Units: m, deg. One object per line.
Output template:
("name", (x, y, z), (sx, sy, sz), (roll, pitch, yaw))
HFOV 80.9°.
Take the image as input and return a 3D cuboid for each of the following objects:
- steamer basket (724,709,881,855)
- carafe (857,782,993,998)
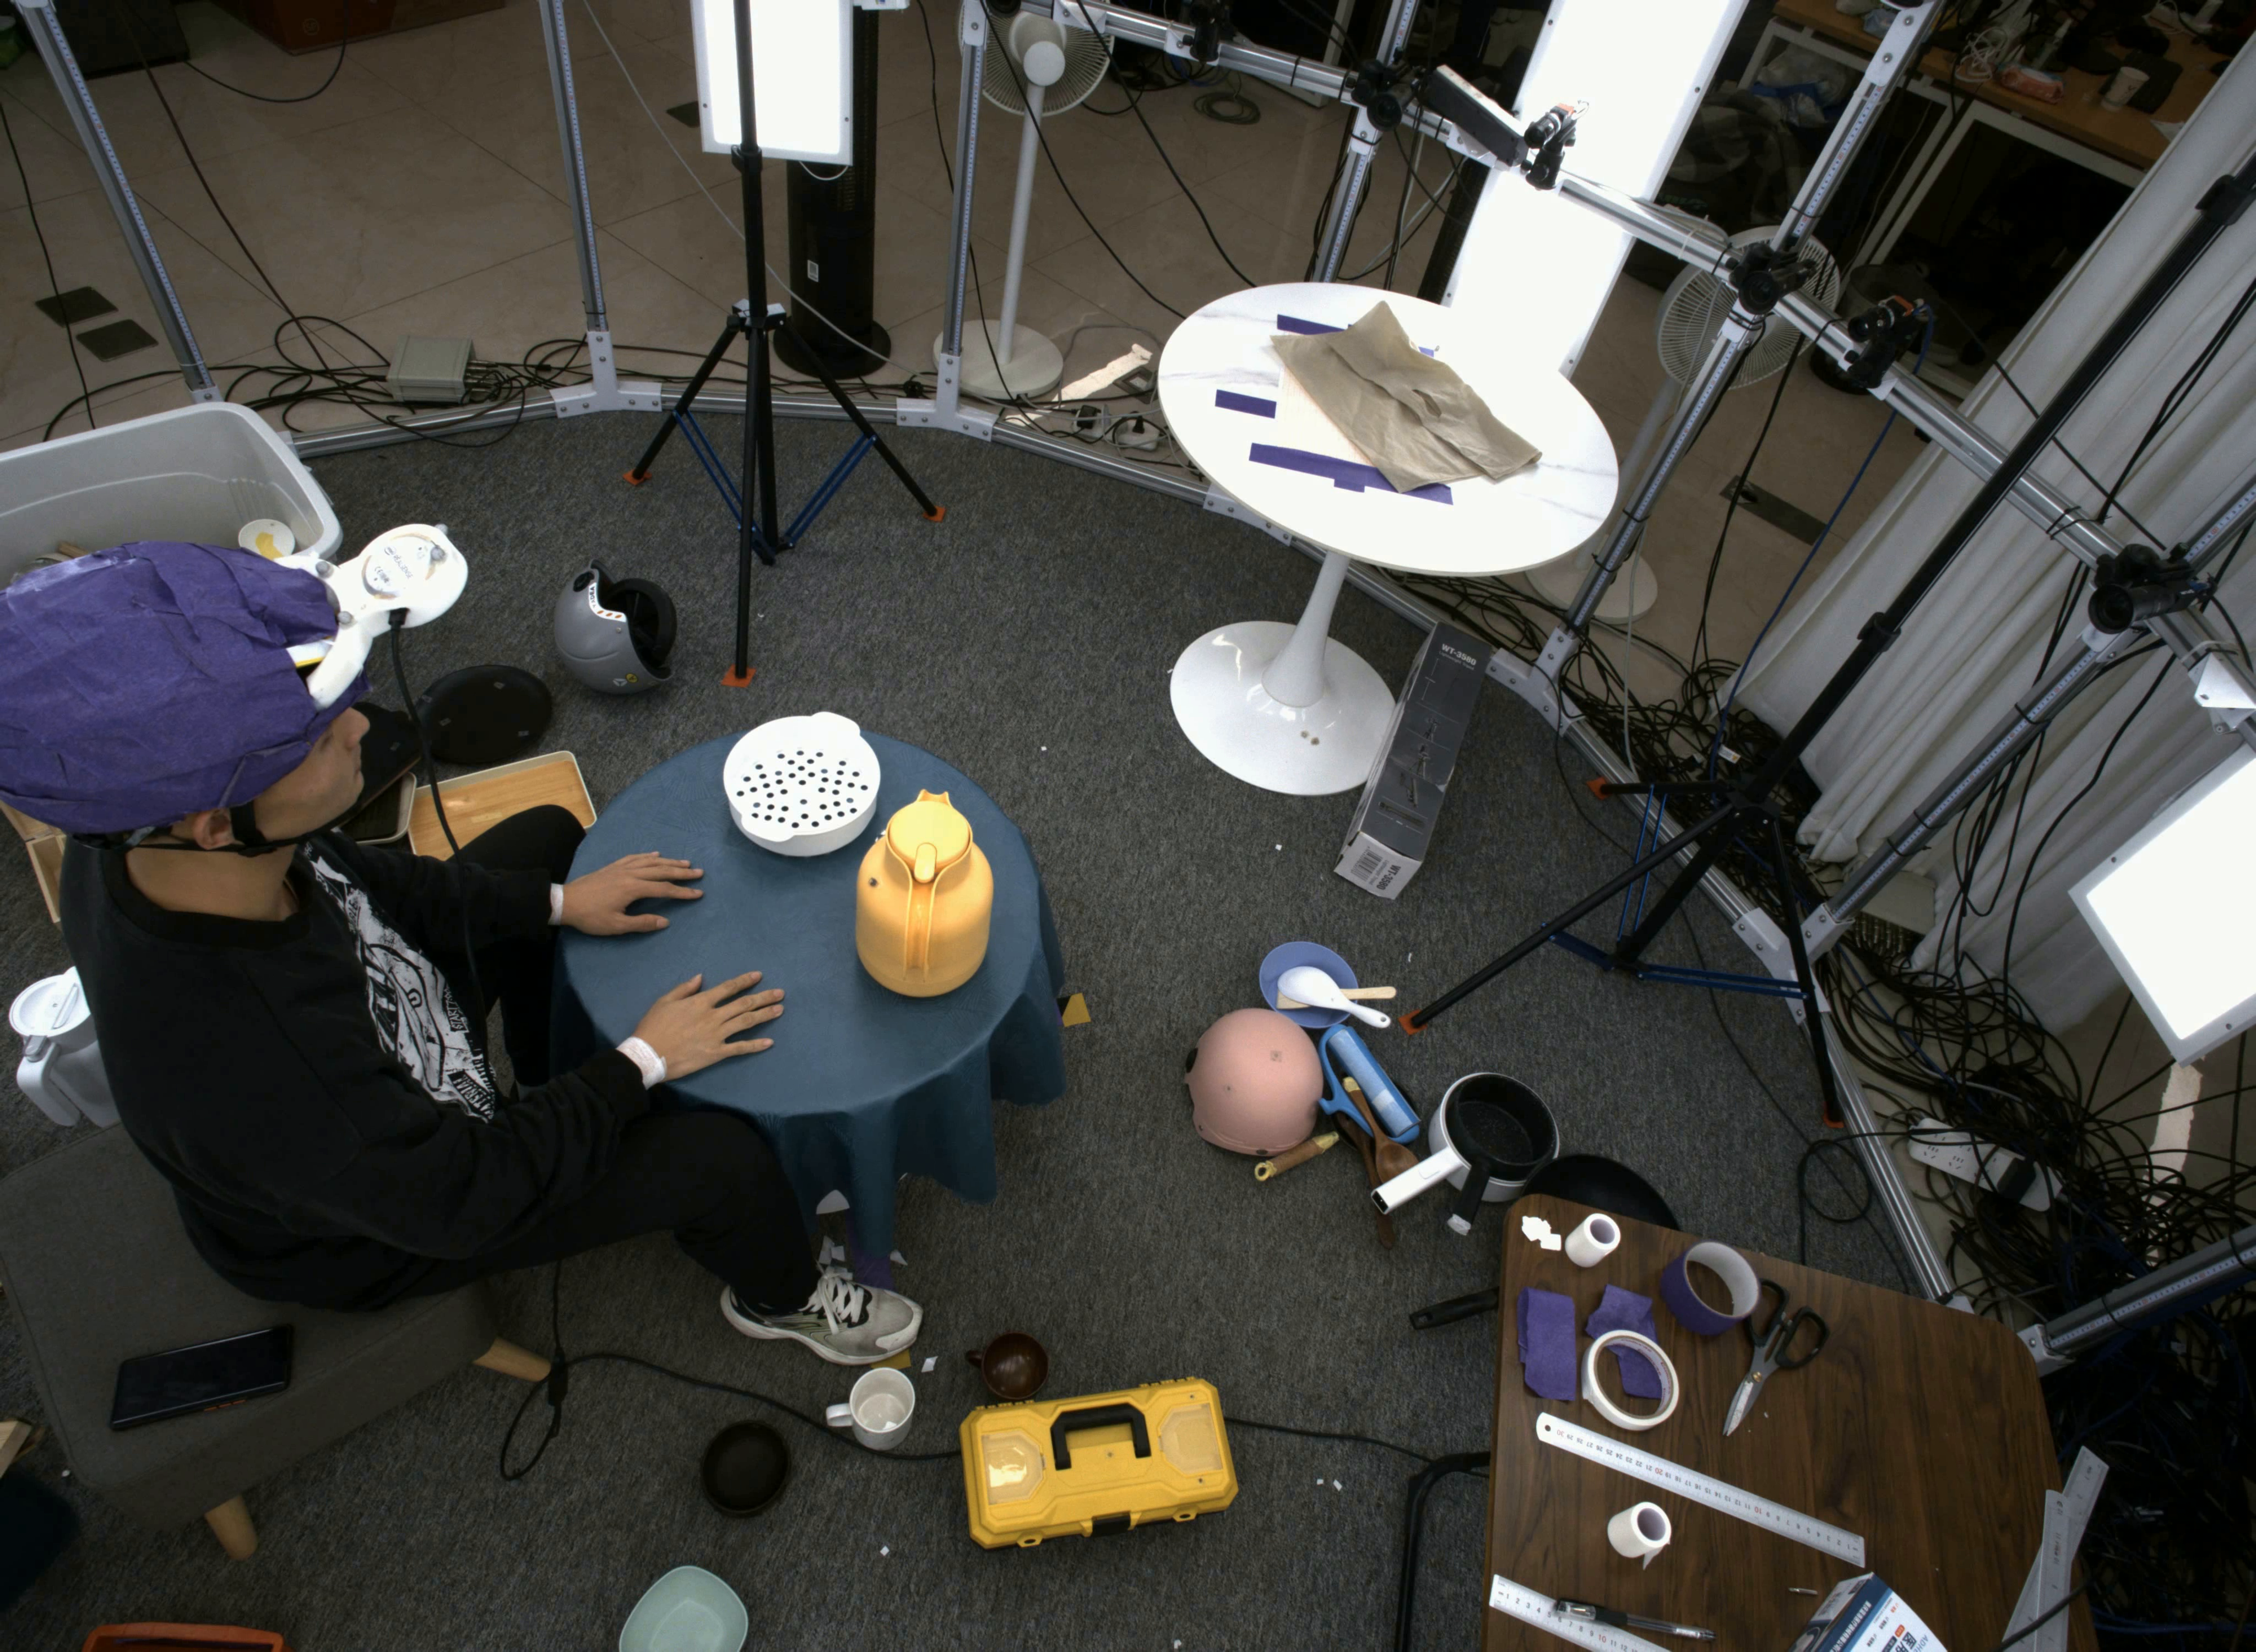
("steamer basket", (-0.430, -0.054, 1.720), (0.200, 0.070, 0.228), (21, 51, 1))
("carafe", (-0.243, 0.090, 1.531), (0.162, 0.267, 0.199), (6, 50, -4))
